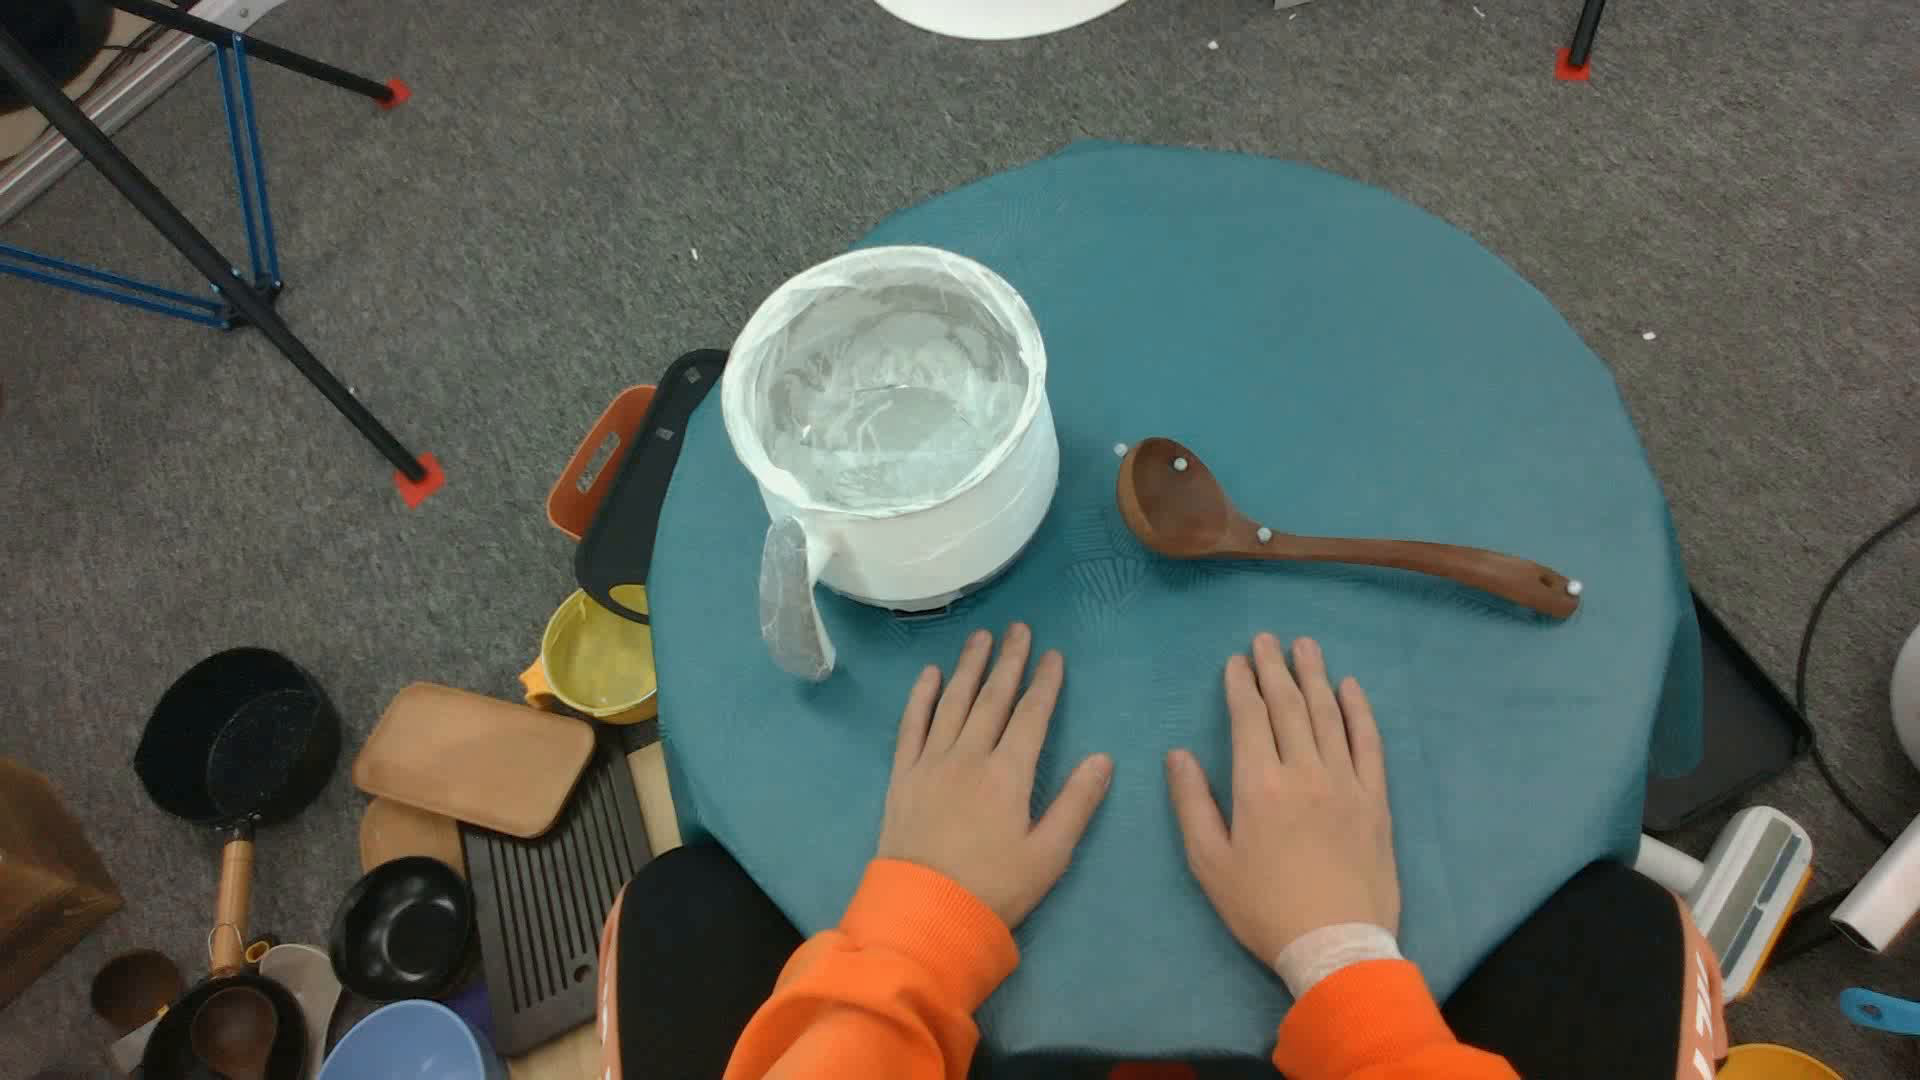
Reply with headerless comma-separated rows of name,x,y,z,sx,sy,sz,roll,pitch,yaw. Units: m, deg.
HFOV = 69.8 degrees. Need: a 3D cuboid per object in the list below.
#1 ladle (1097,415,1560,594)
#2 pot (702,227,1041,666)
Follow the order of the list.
ladle,0.205,-0.016,0.771,0.260,0.065,0.077,11,57,14
pot,-0.055,-0.046,0.782,0.178,0.136,0.234,19,67,18
